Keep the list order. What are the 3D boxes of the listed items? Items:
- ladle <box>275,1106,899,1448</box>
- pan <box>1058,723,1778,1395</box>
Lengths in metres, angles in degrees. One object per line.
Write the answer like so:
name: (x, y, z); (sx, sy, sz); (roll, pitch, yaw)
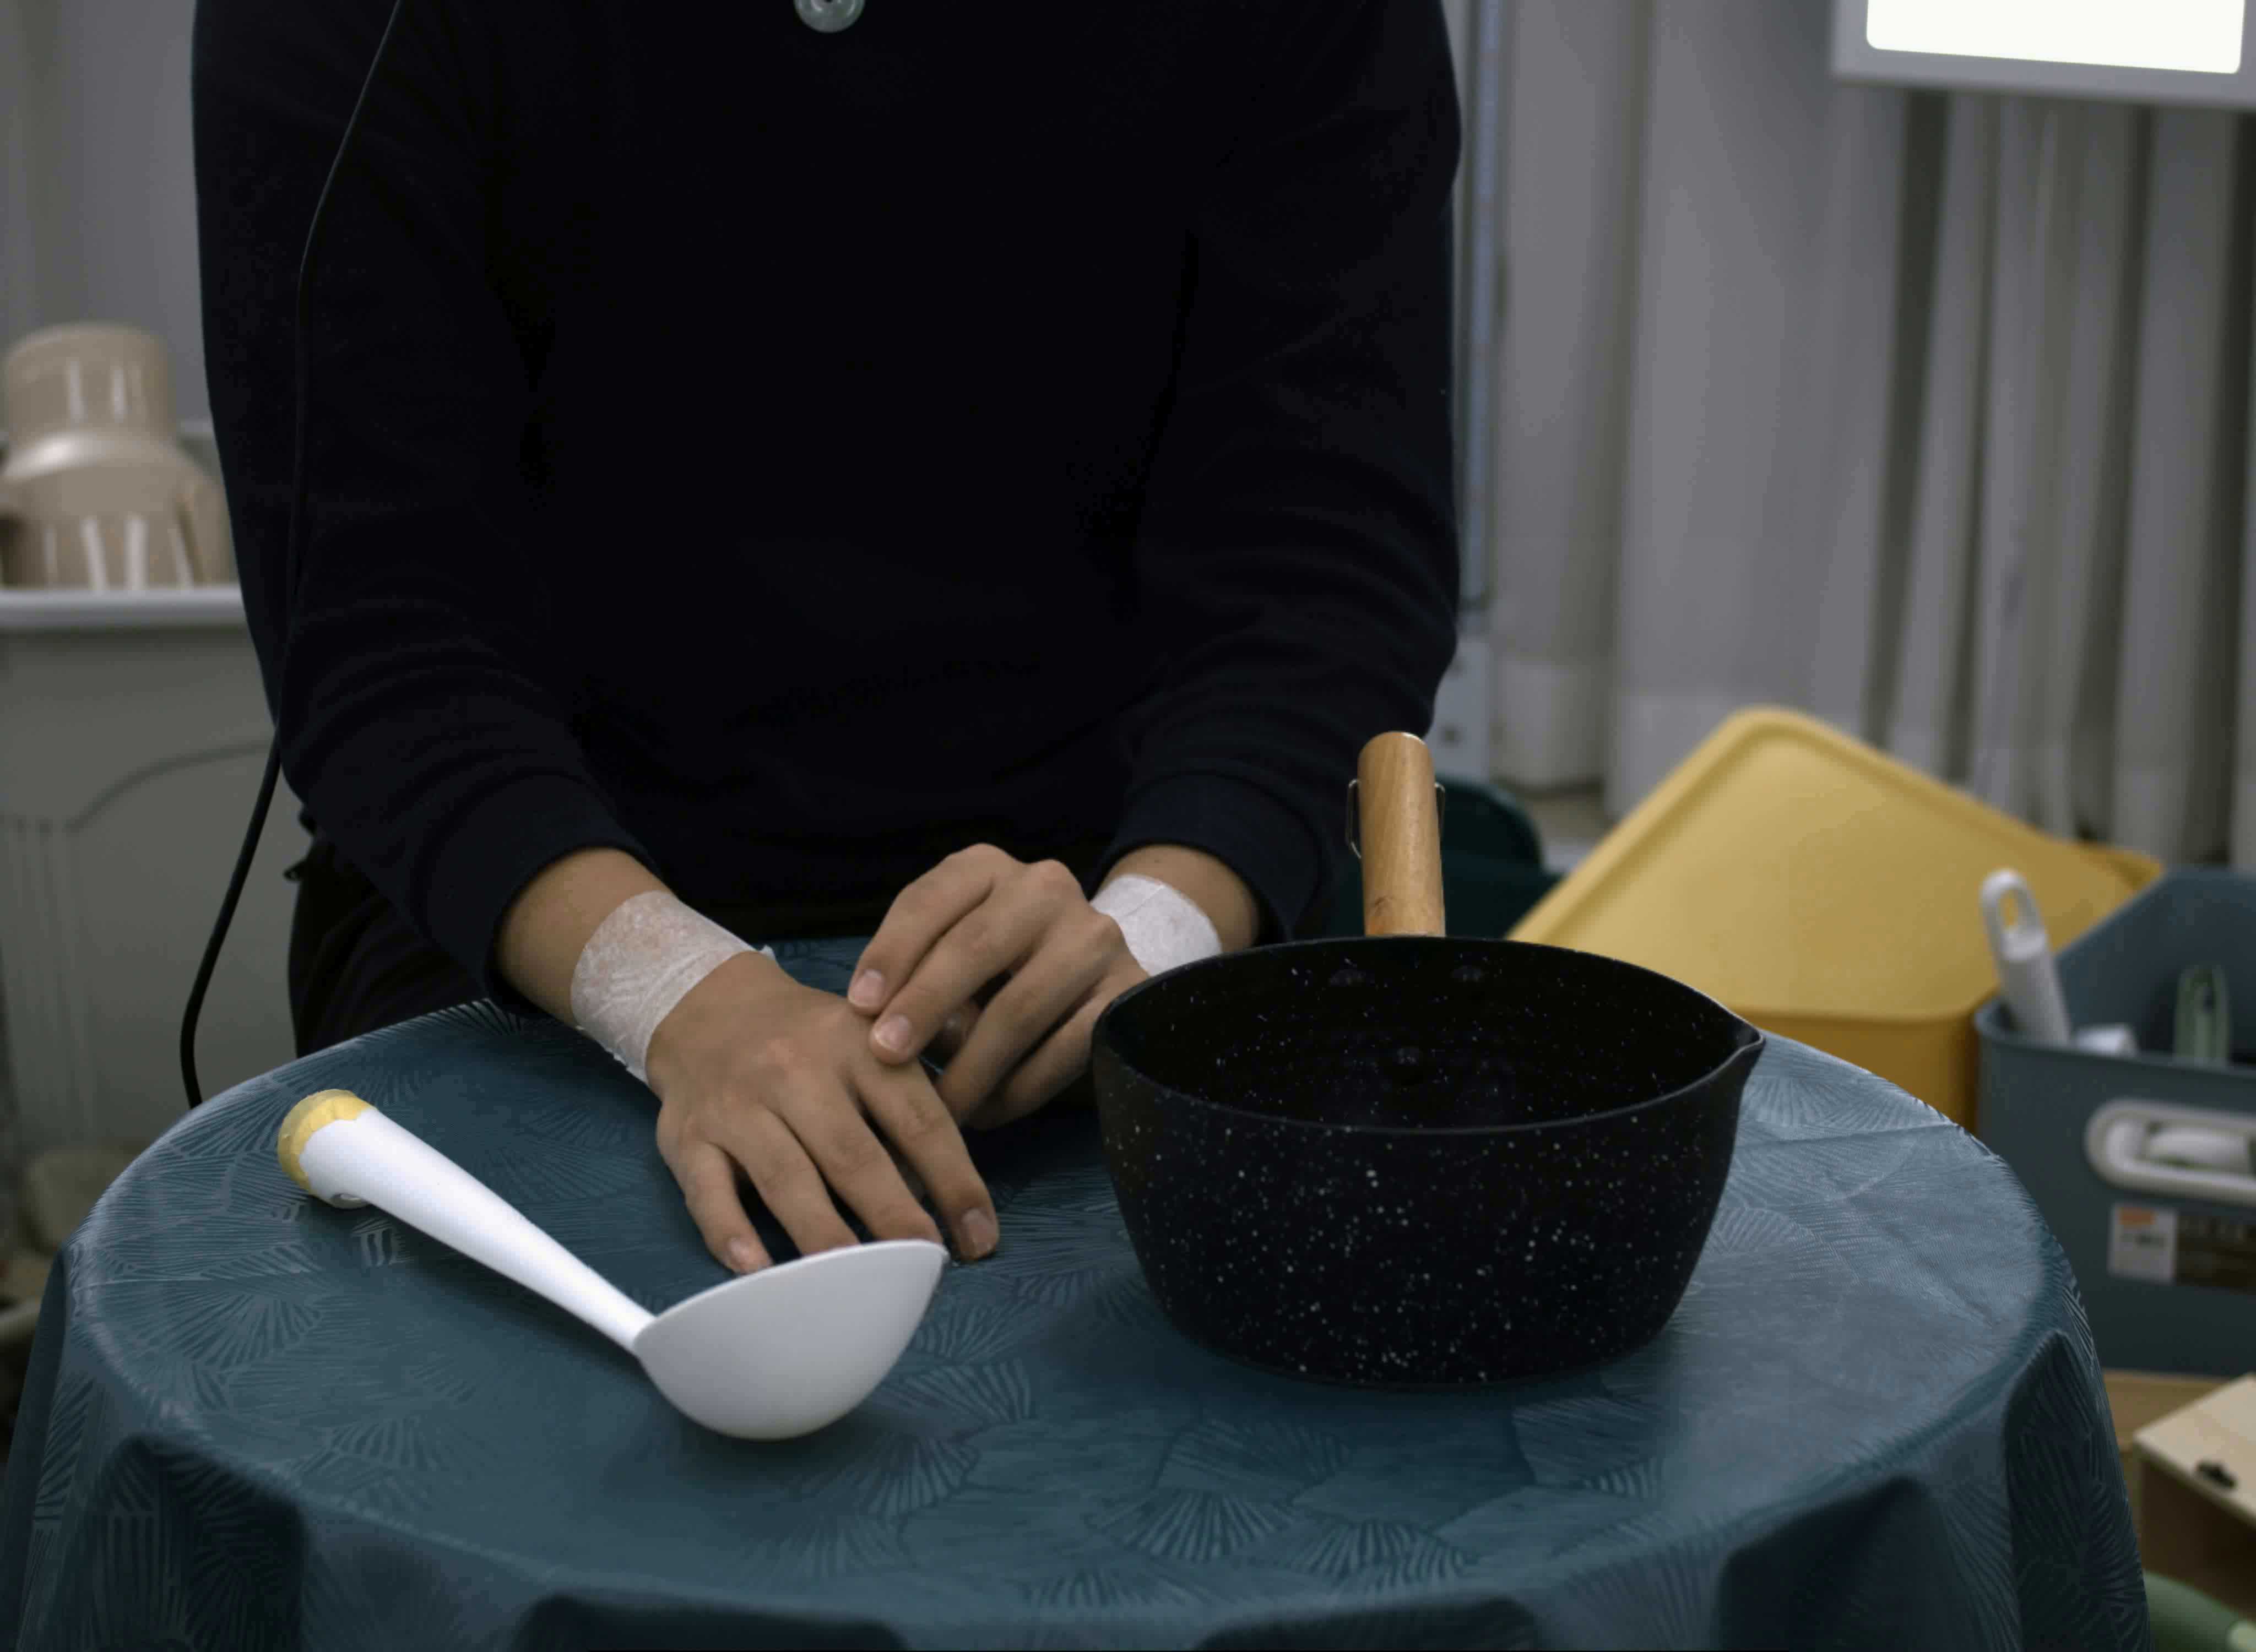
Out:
ladle: (-0.166, 0.113, 1.495); (0.090, 0.070, 0.289); (-17, 22, -32)
pan: (0.083, 0.065, 1.593); (0.207, 0.109, 0.341); (-1, 17, 0)
